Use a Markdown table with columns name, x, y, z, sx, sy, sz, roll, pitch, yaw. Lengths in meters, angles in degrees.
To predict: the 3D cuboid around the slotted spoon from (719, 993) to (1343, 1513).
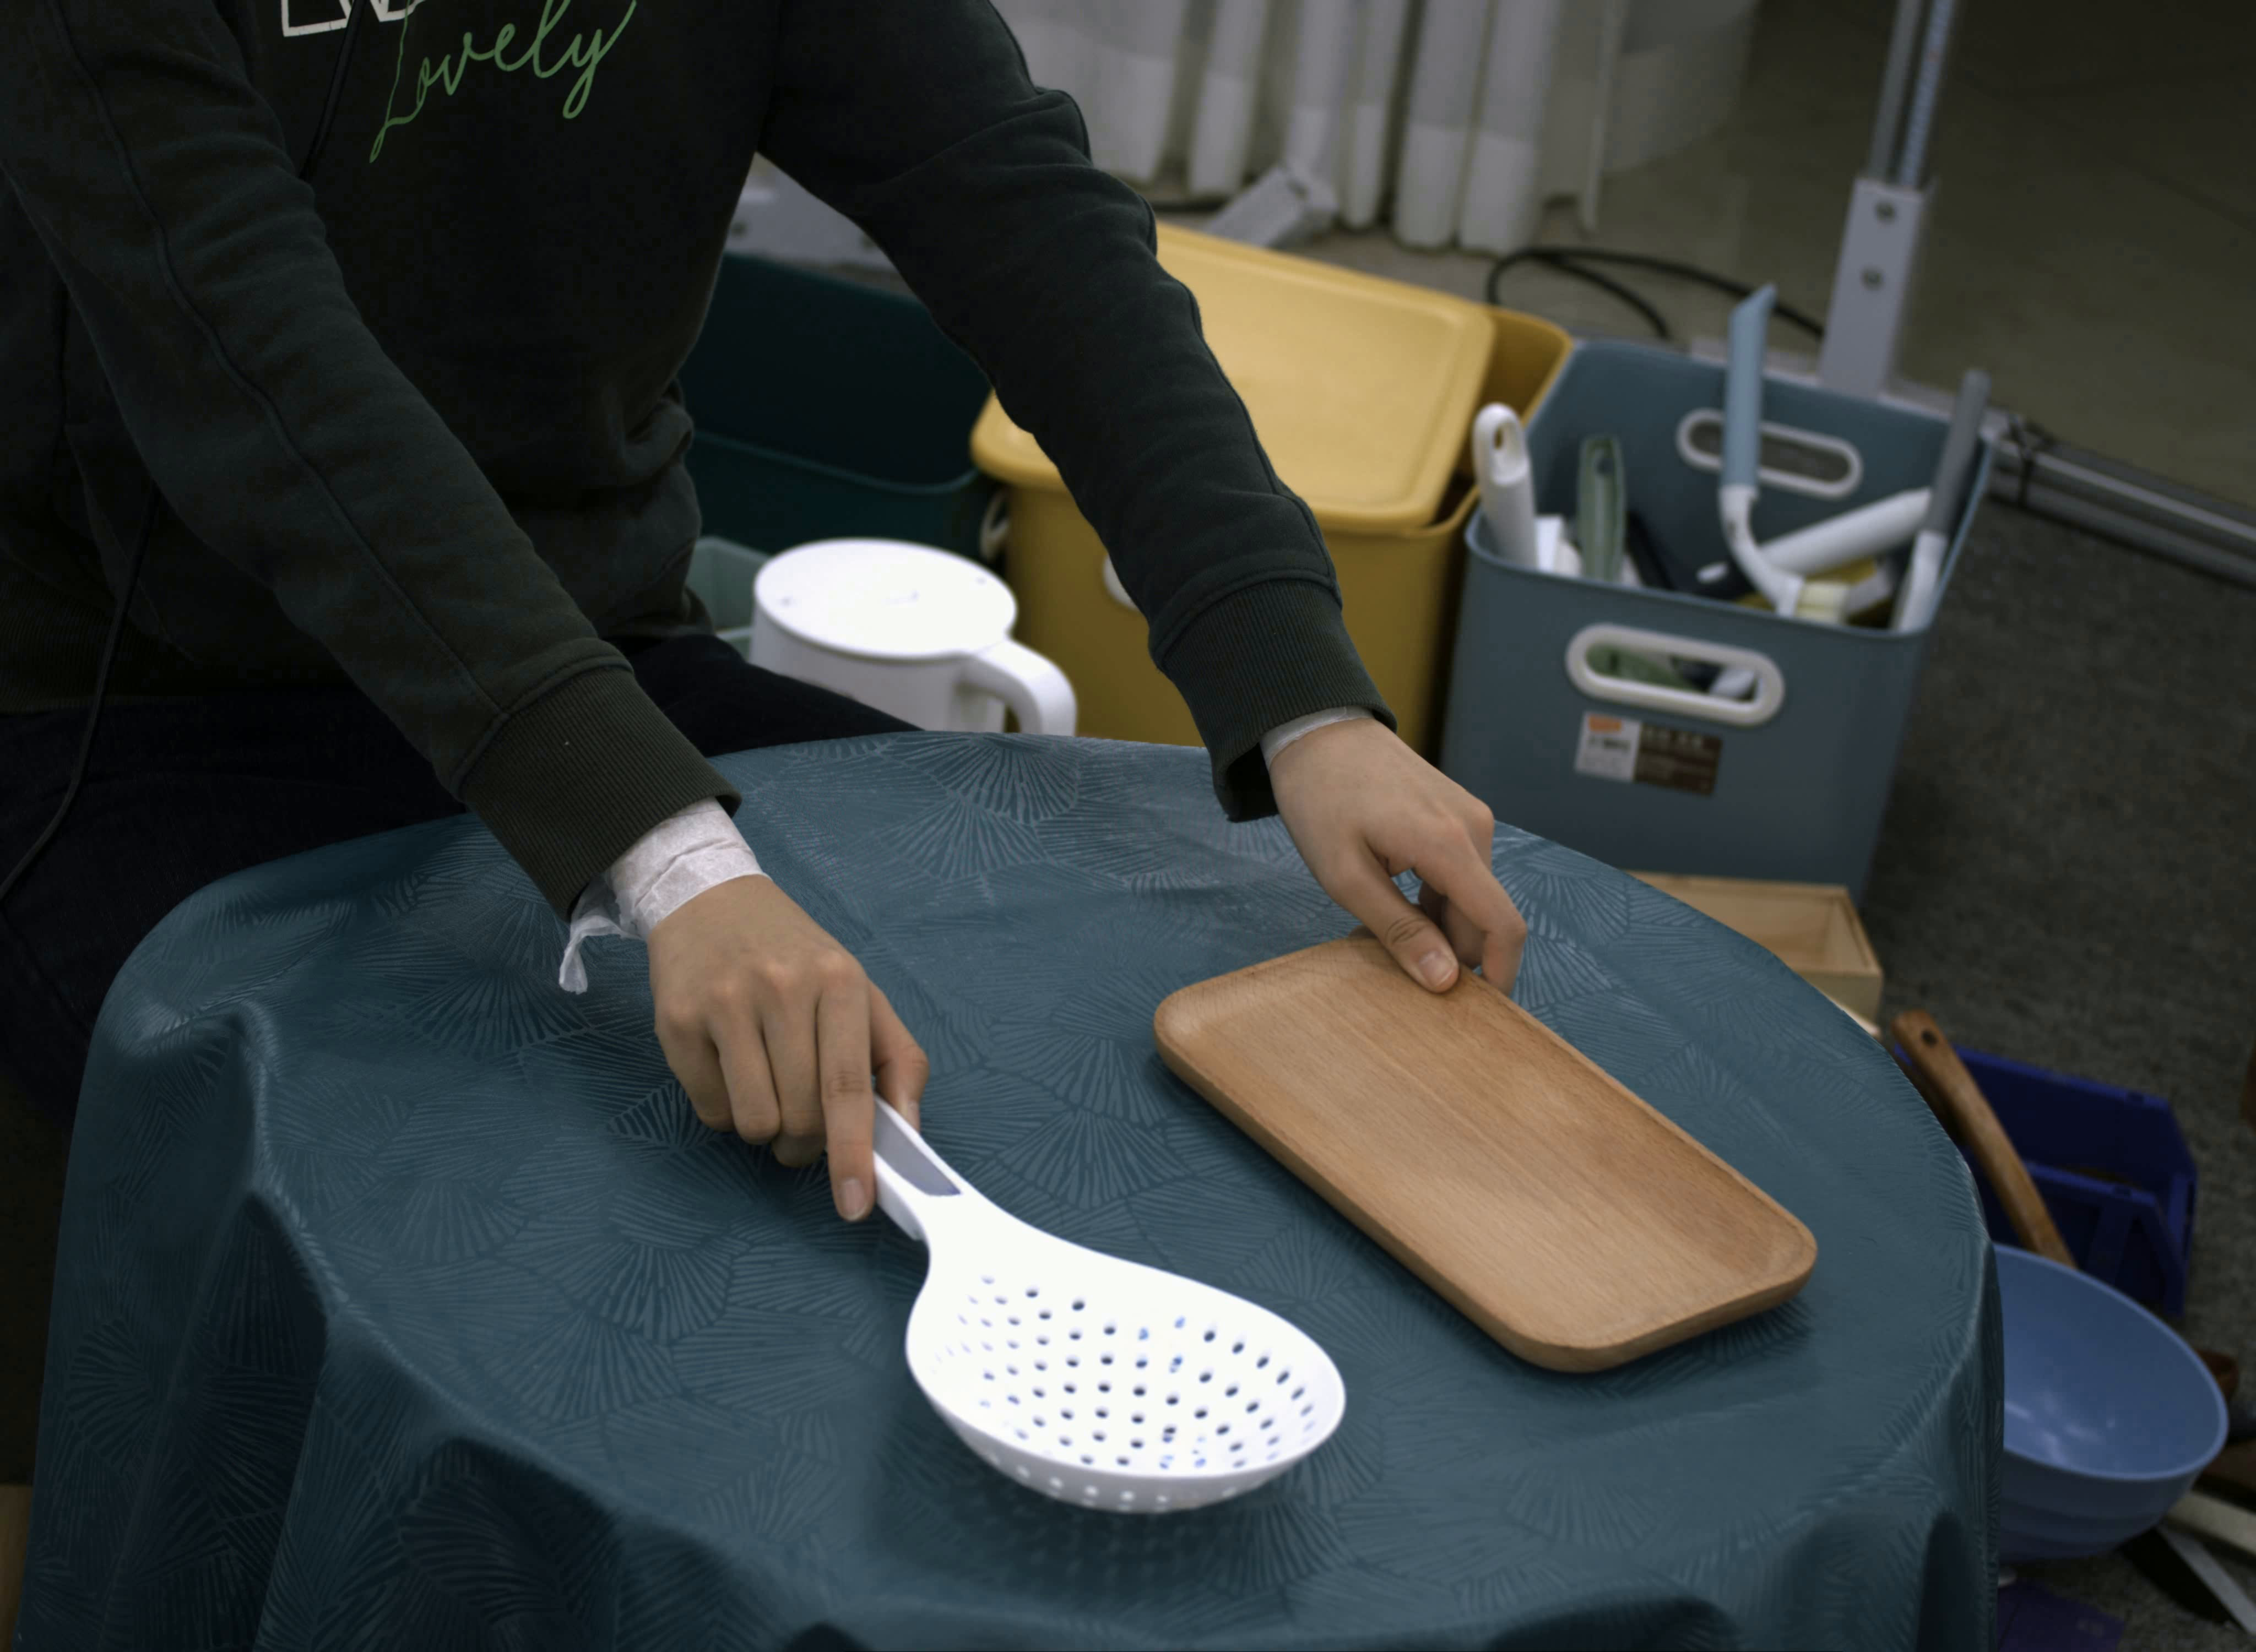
| name | x | y | z | sx | sy | sz | roll | pitch | yaw |
| --- | --- | --- | --- | --- | --- | --- | --- | --- | --- |
| slotted spoon | -0.052 | 0.131 | 1.717 | 0.135 | 0.045 | 0.353 | -3 | 28 | -29 |

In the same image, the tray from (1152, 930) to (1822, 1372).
| name | x | y | z | sx | sy | sz | roll | pitch | yaw |
| --- | --- | --- | --- | --- | --- | --- | --- | --- | --- |
| tray | 0.119 | 0.109 | 1.827 | 0.130 | 0.023 | 0.253 | -14 | 33 | -31 |
